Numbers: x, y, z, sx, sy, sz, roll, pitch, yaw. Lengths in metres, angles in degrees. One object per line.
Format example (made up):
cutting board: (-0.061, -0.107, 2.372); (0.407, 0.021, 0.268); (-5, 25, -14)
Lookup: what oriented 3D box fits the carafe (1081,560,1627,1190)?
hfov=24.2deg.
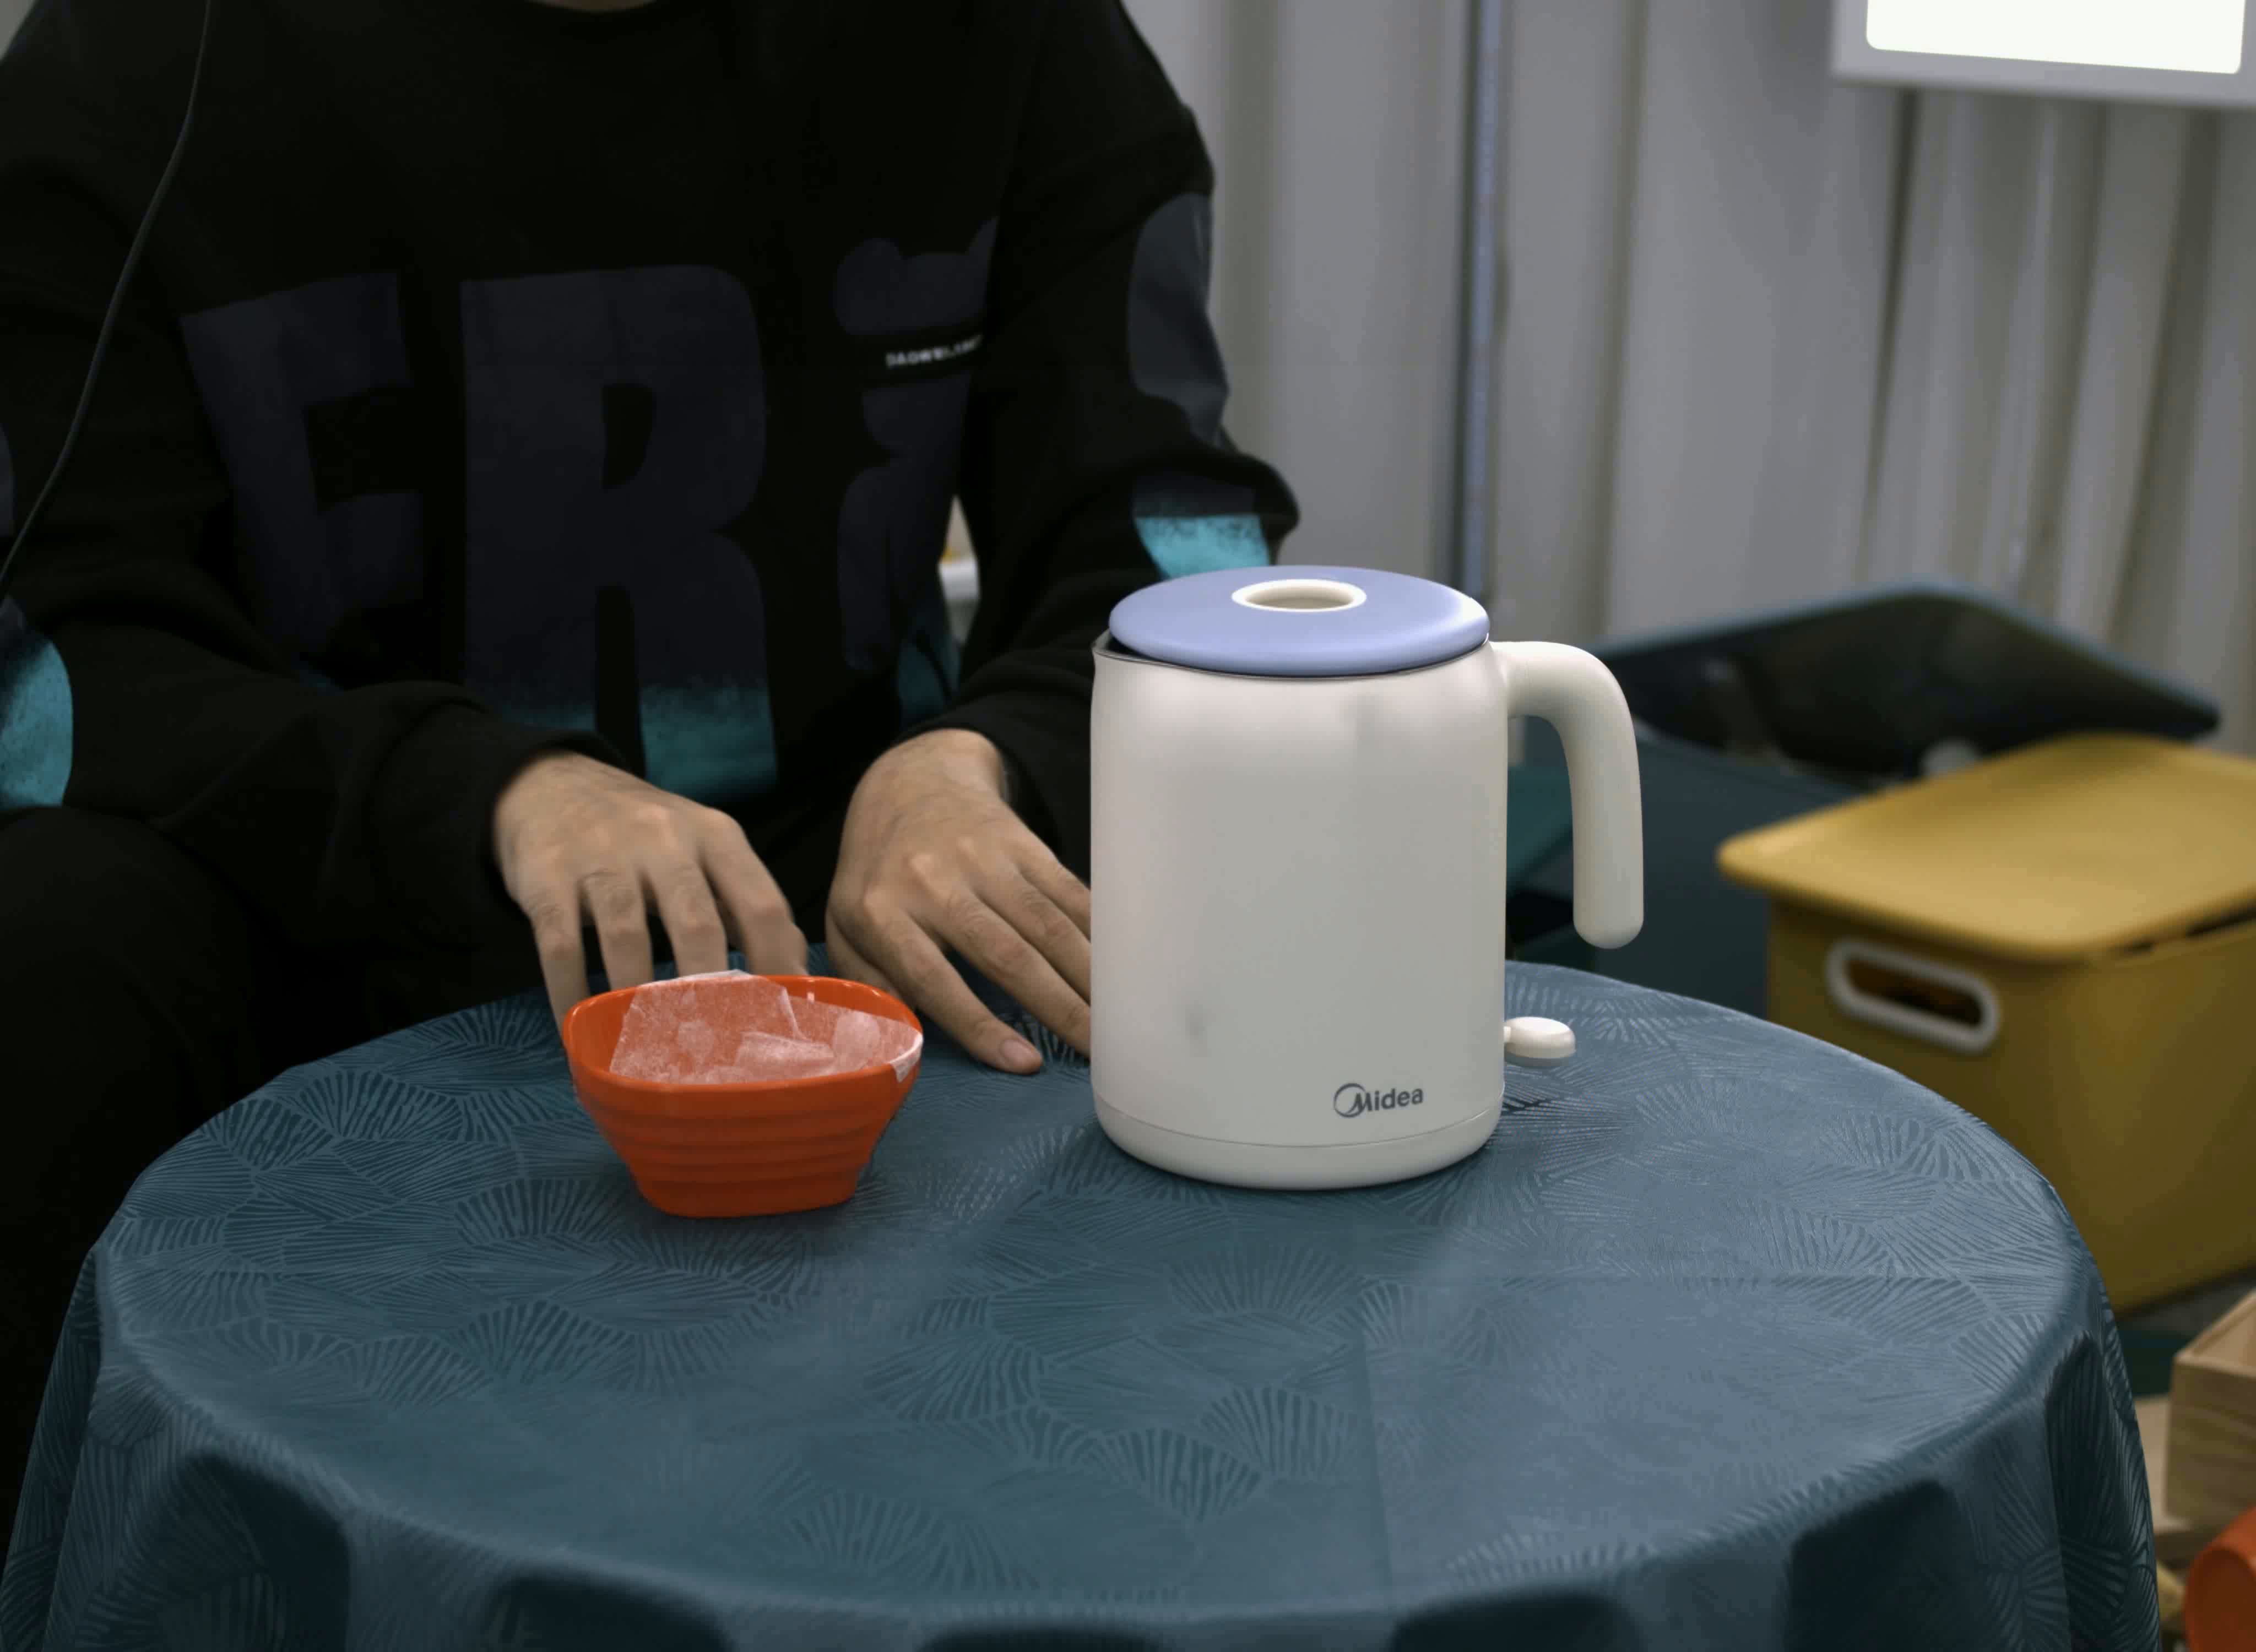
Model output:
carafe: (0.075, 0.013, 1.662); (0.192, 0.184, 0.130); (-4, 18, -23)

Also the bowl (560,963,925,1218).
bowl: (-0.118, 0.084, 1.618); (0.118, 0.052, 0.118); (-1, 18, 1)
